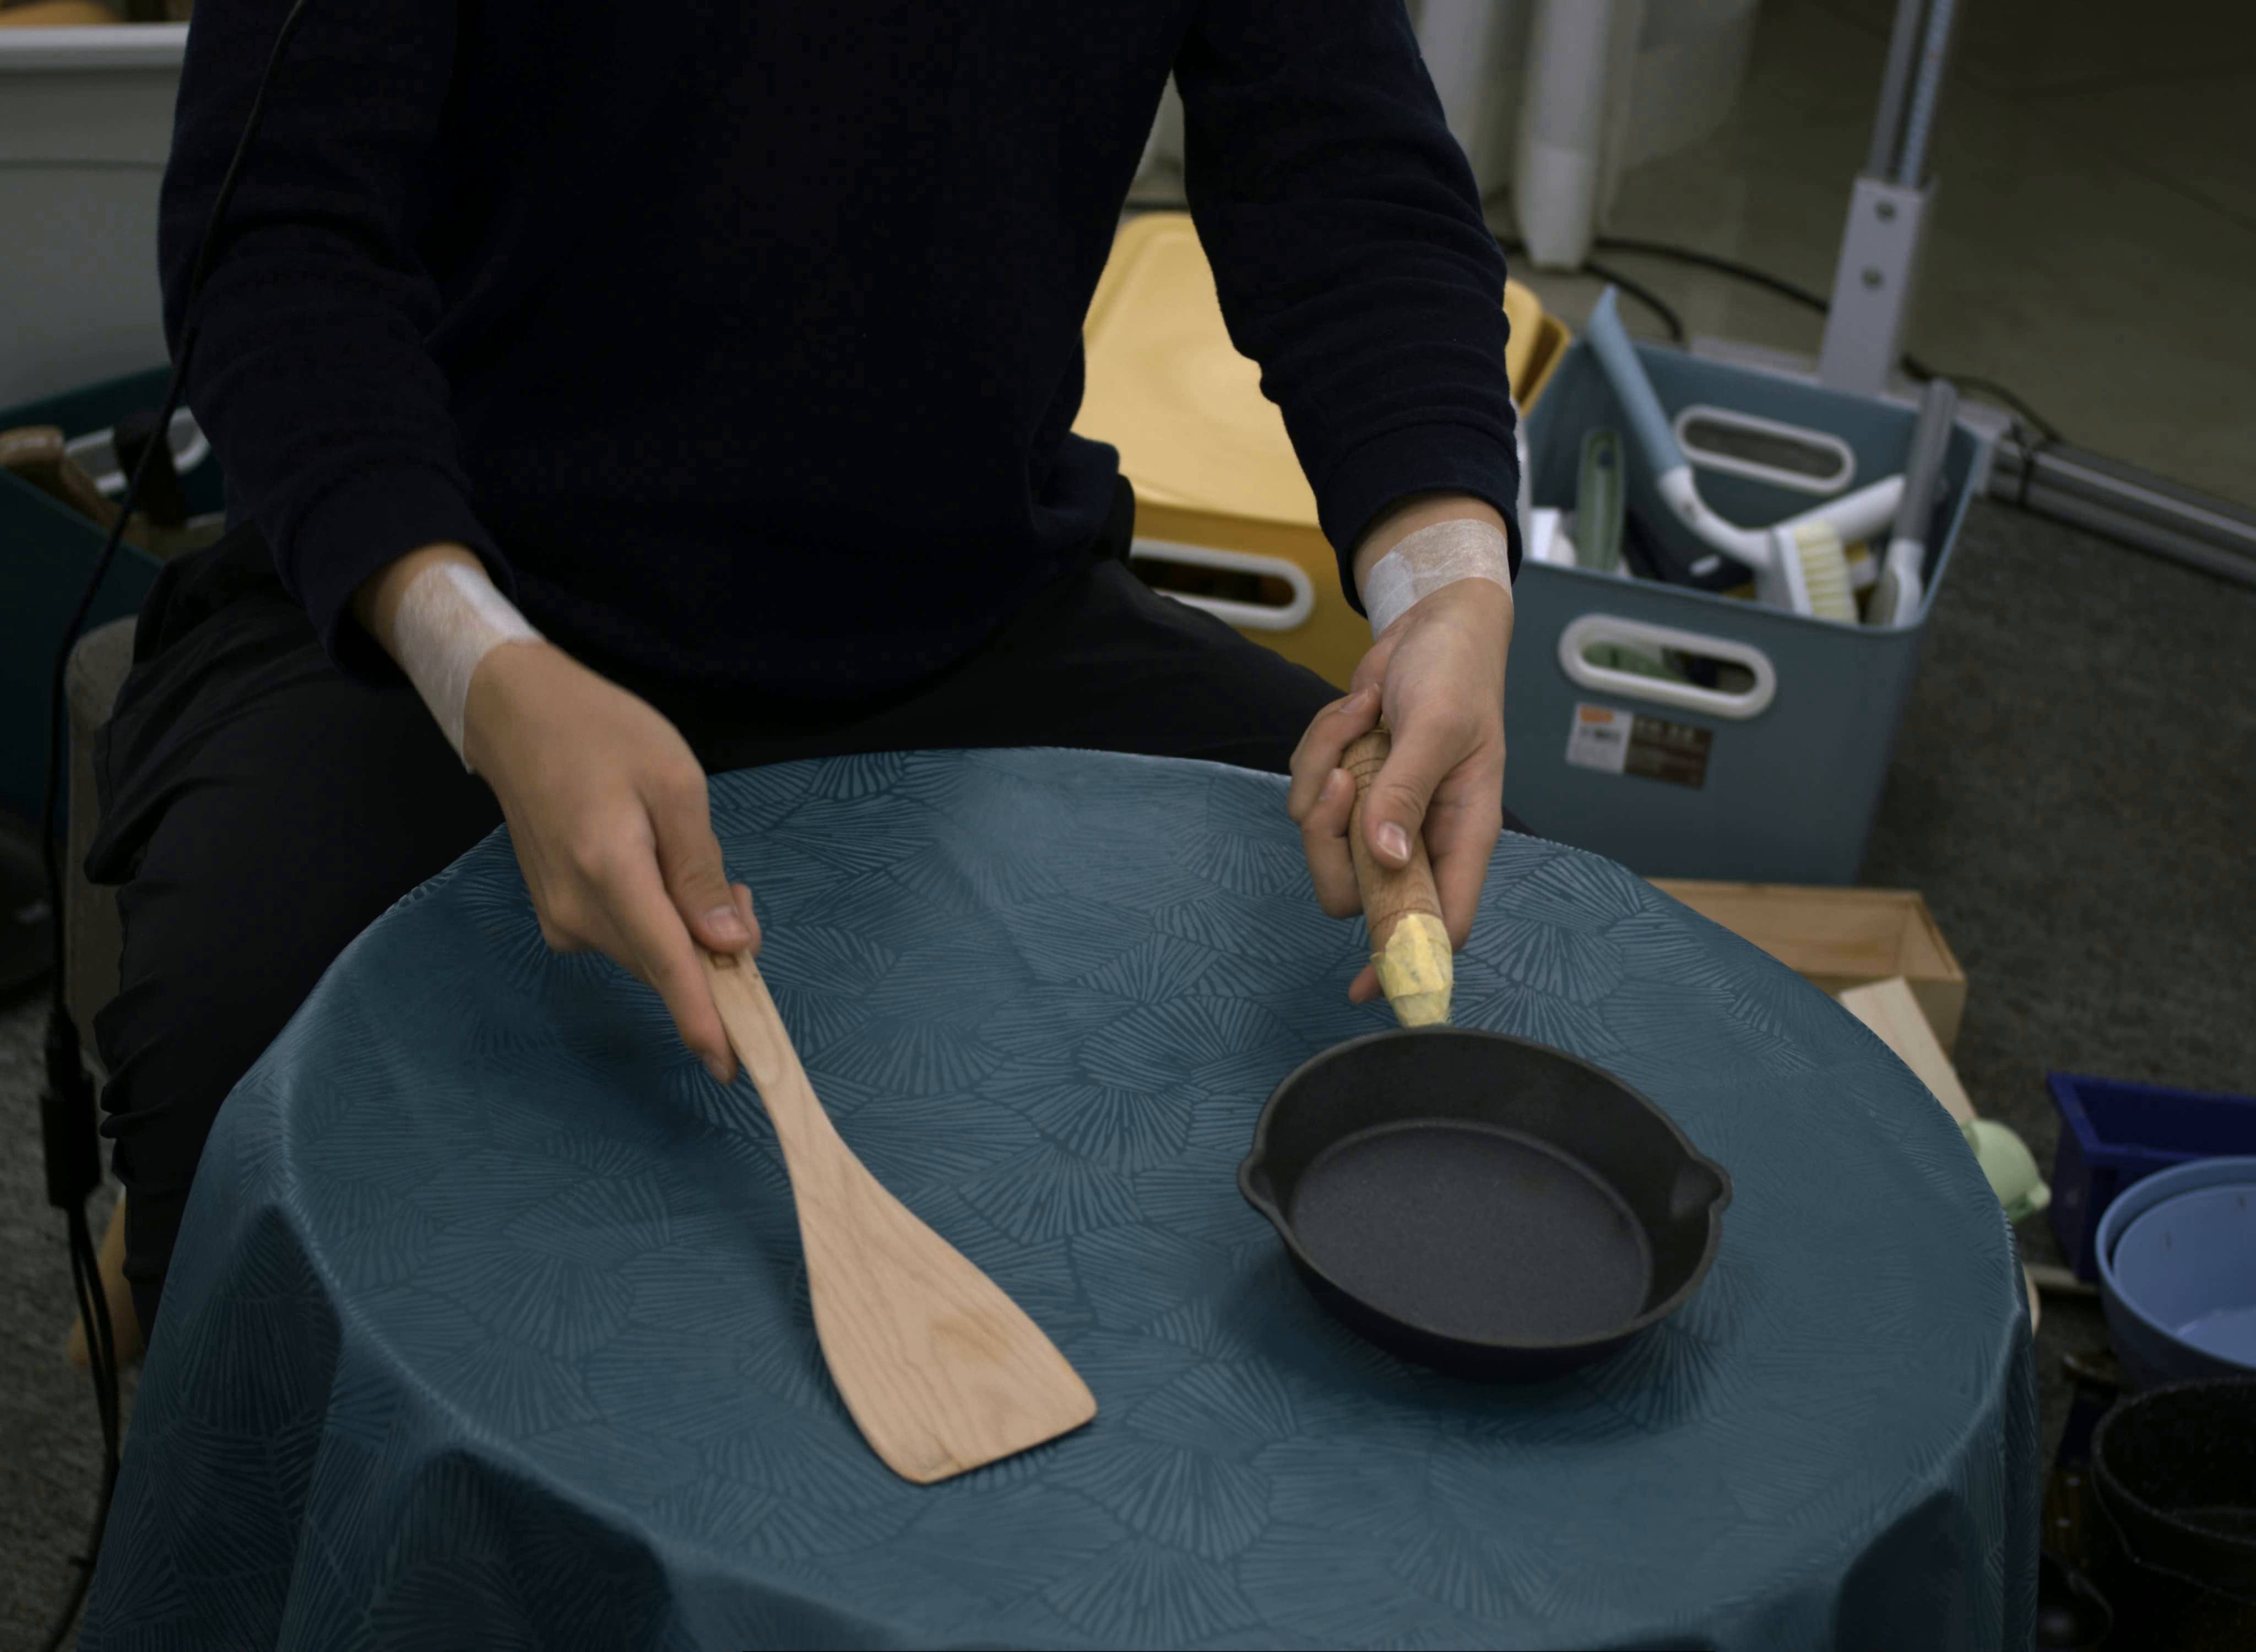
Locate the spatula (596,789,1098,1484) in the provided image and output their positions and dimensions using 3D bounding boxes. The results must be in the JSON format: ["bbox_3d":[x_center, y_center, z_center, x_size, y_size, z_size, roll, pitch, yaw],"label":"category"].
[{"bbox_3d":[-0.106,0.094,1.753,0.079,0.016,0.331,-7,45,-28],"label":"spatula"}]

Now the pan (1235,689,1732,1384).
[{"bbox_3d":[0.106,0.070,1.821,0.168,0.049,0.327,2,39,-11],"label":"pan"}]
